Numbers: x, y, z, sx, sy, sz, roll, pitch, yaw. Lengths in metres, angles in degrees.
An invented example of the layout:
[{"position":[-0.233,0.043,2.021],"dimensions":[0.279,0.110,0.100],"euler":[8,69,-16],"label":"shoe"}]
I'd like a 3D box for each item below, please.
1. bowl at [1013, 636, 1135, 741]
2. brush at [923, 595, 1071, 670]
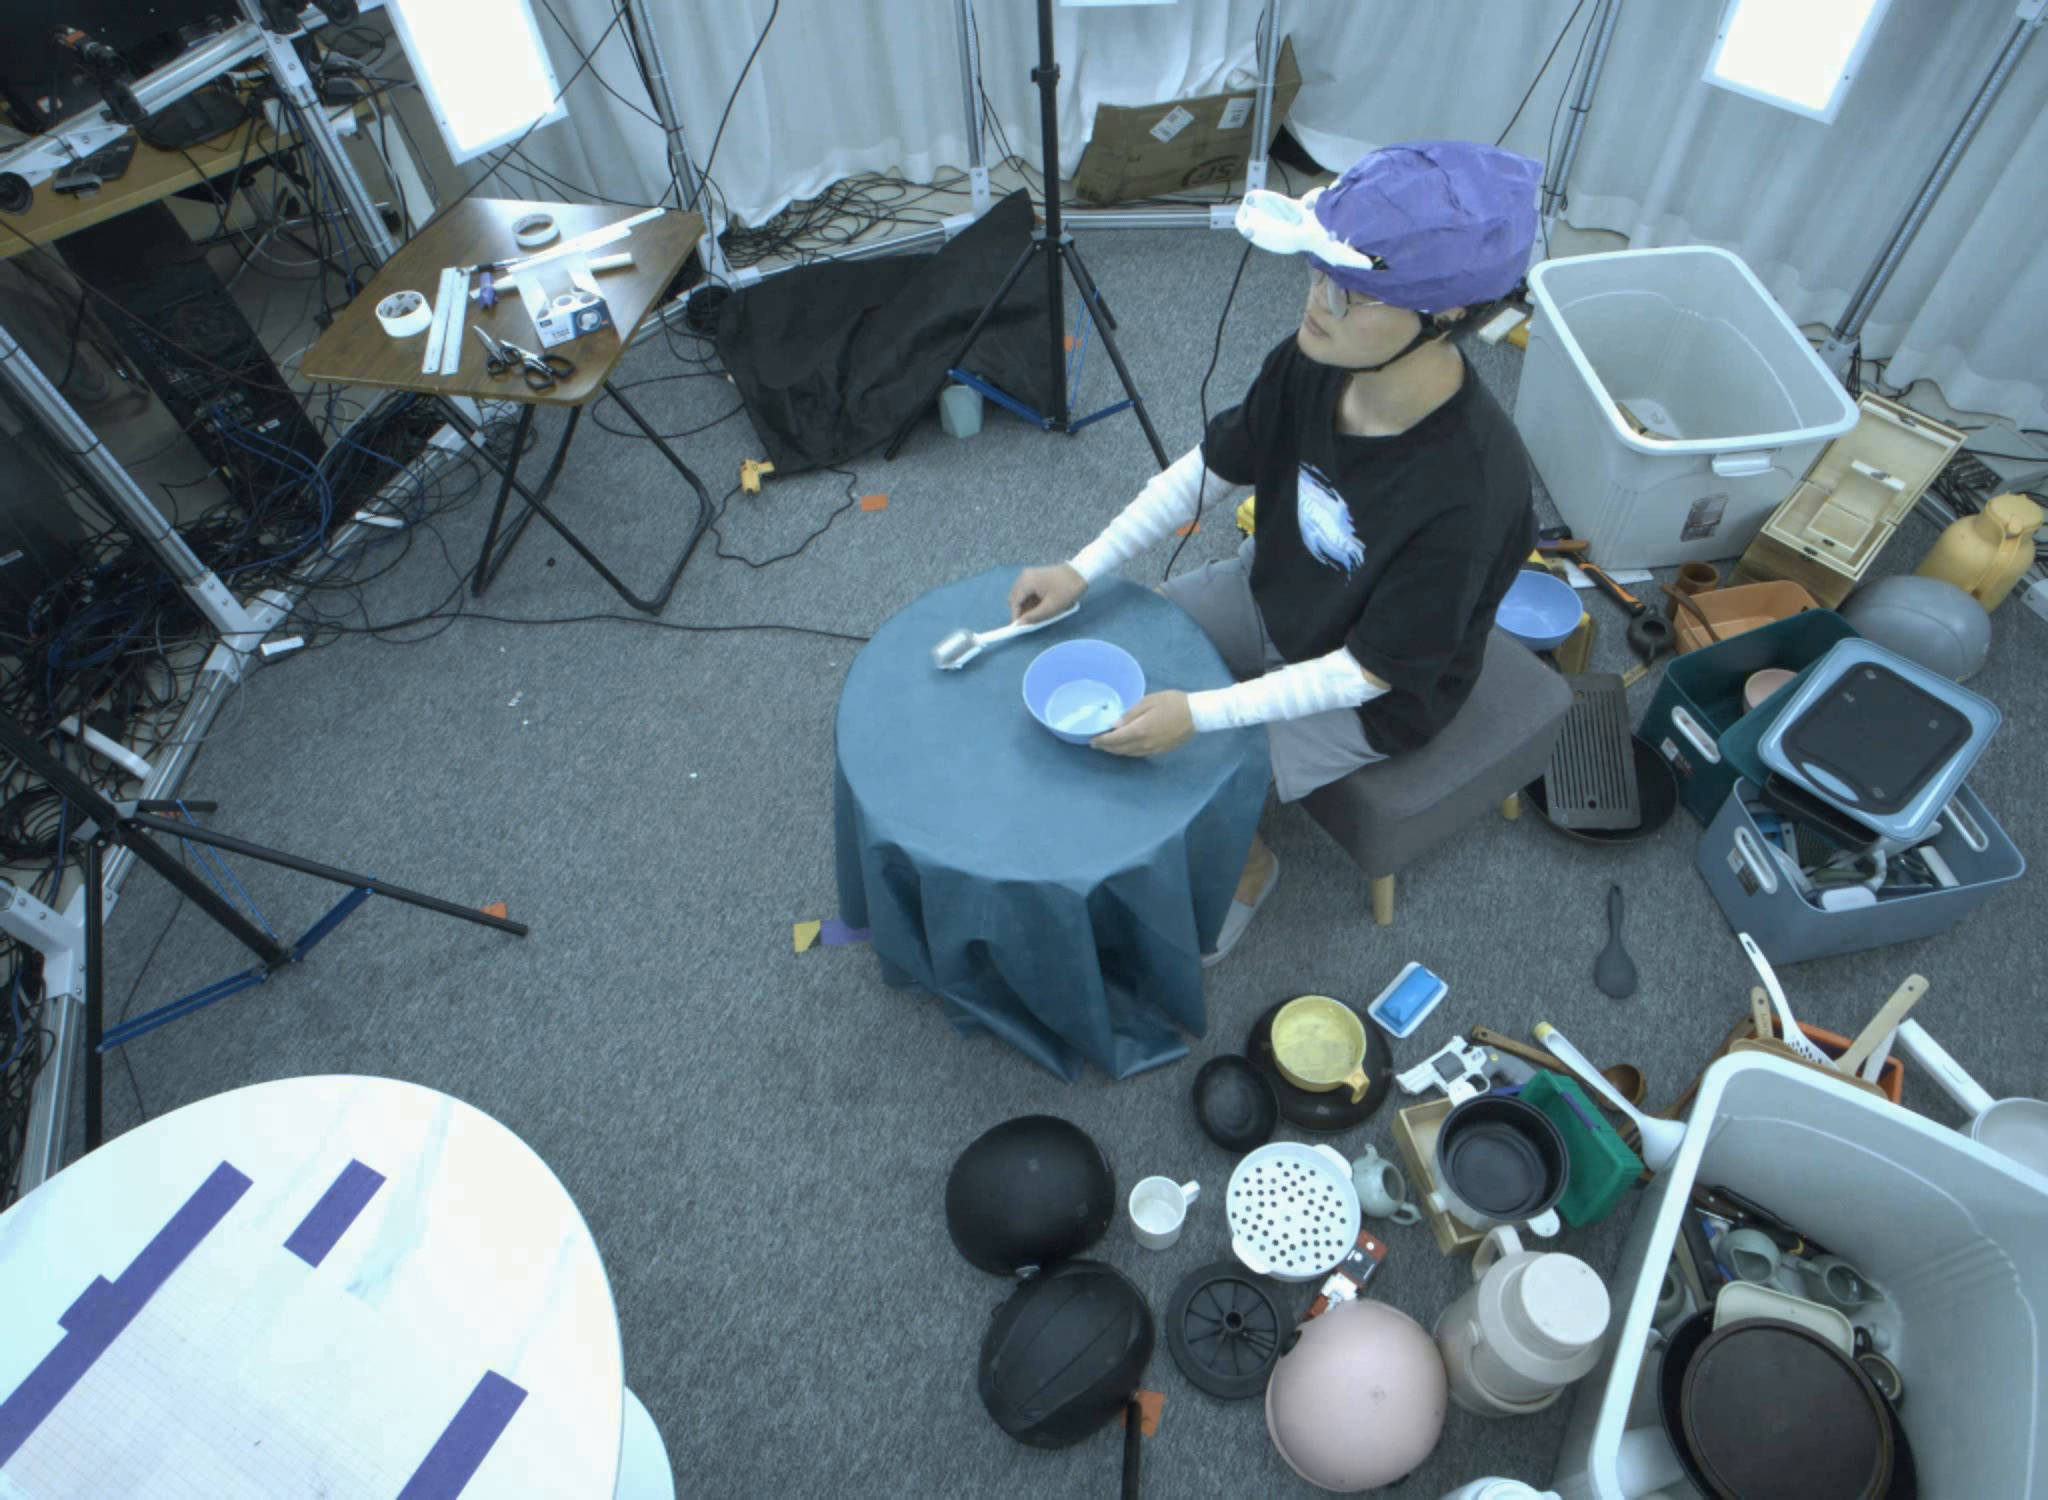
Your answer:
[{"position":[0.074,-0.079,1.789],"dimensions":[0.176,0.071,0.174],"euler":[0,55,2],"label":"bowl"},{"position":[-0.040,-0.192,1.875],"dimensions":[0.245,0.051,0.034],"euler":[-26,56,-9],"label":"brush"}]
